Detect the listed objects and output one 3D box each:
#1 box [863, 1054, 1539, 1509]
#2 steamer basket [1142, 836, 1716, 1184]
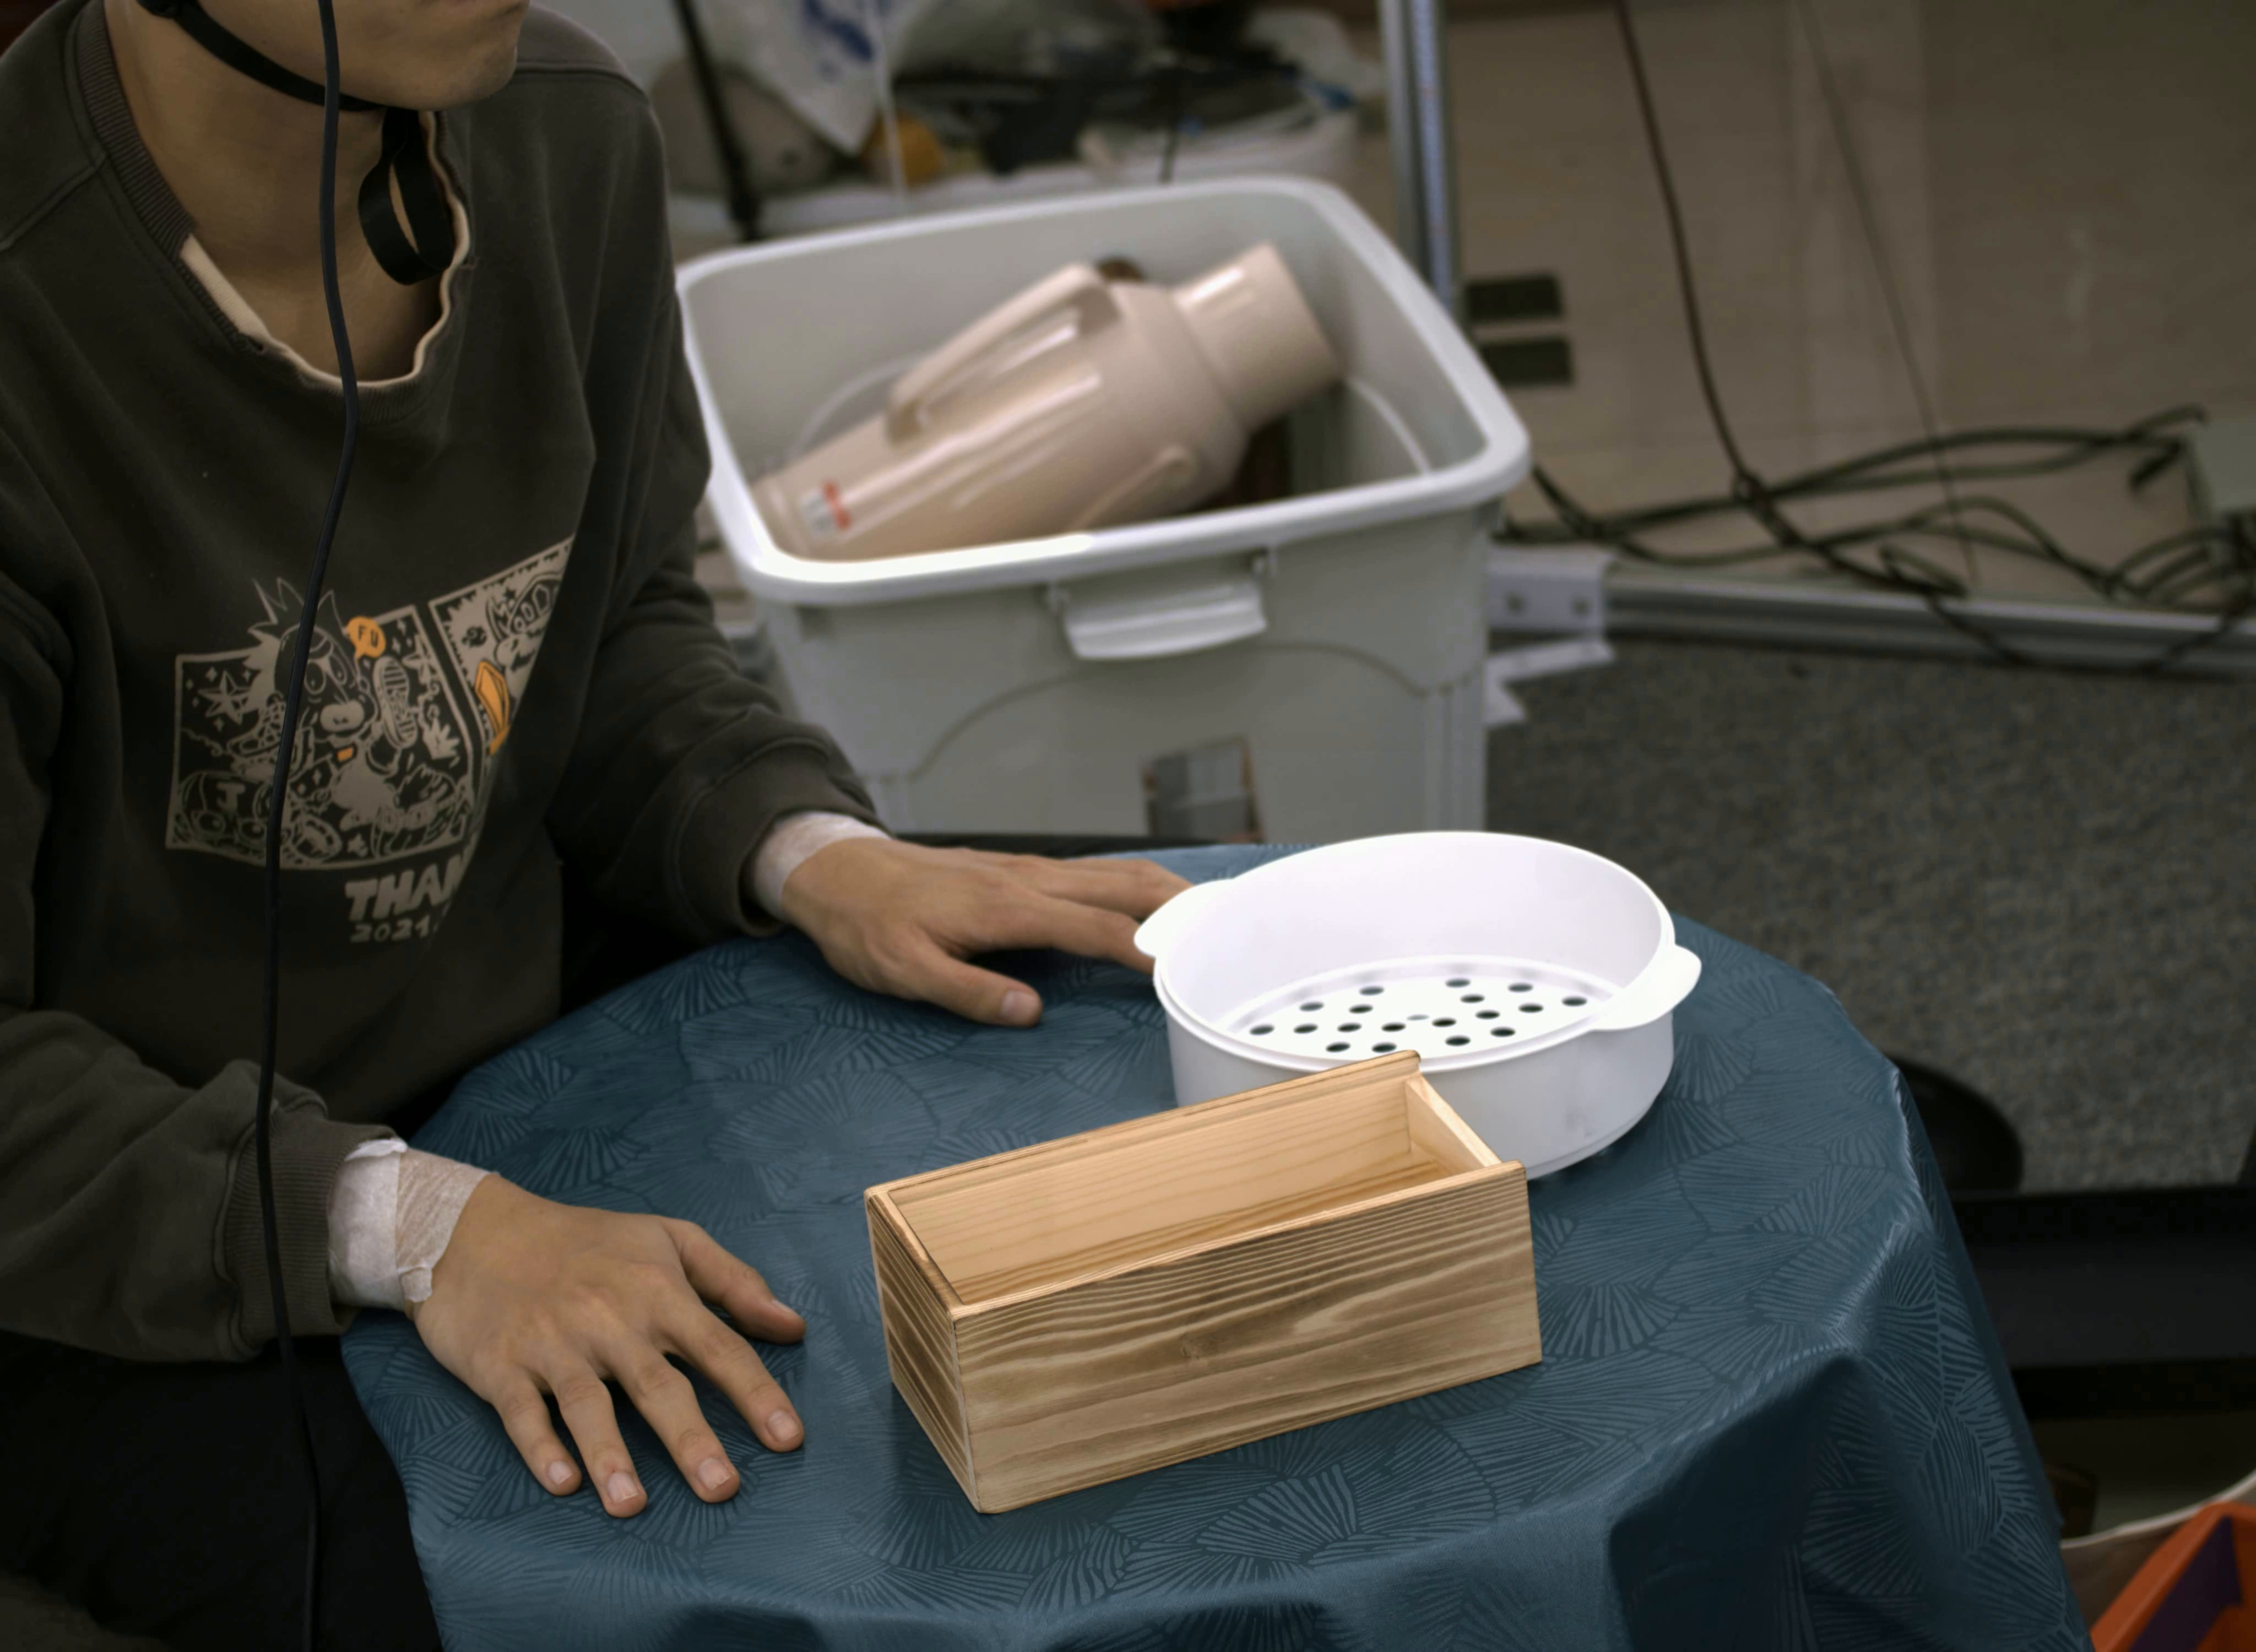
[{"bbox_3d":[0.025,0.158,2.002,0.211,0.081,0.106,-14,26,-15],"label":"box"},{"bbox_3d":[0.116,0.074,2.176,0.229,0.070,0.199,8,28,30],"label":"steamer basket"}]
